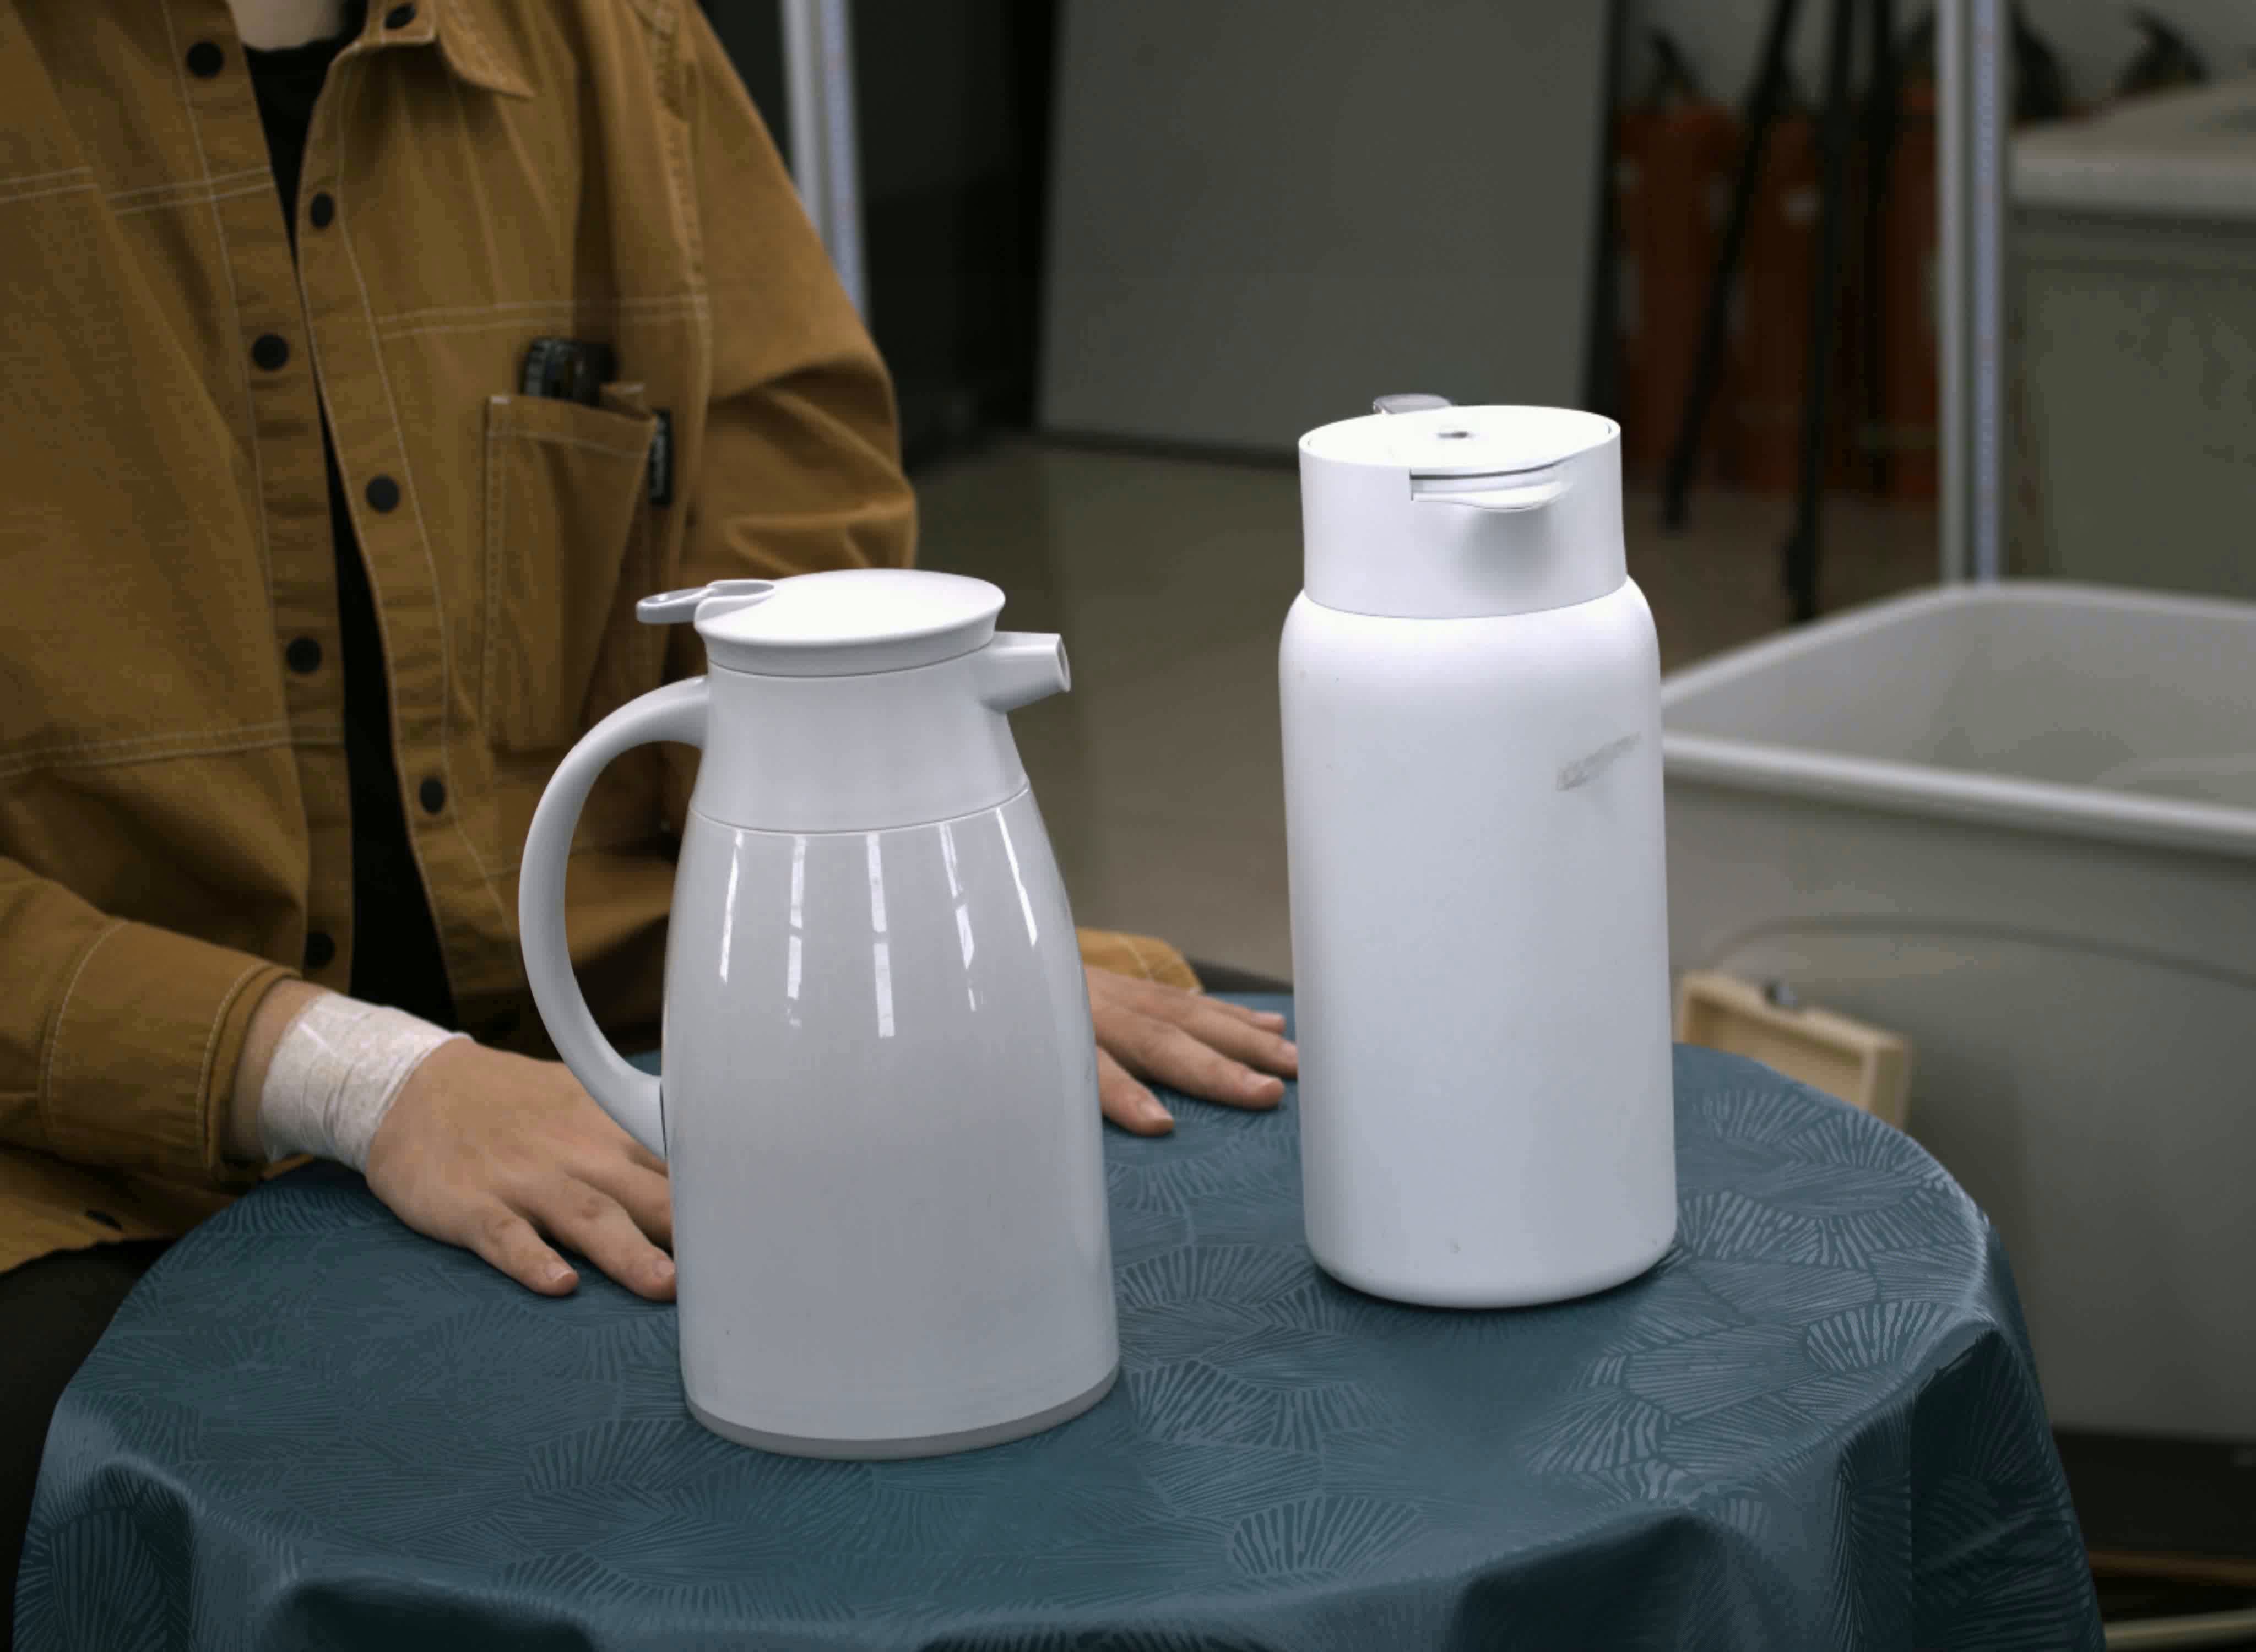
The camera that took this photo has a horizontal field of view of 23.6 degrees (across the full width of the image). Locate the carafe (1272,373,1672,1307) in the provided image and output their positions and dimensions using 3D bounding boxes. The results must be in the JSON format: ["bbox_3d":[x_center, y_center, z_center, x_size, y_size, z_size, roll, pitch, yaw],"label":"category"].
[{"bbox_3d":[0.100,0.001,1.669,0.121,0.272,0.174,-8,14,-10],"label":"carafe"}]

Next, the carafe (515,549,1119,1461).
[{"bbox_3d":[-0.094,0.047,1.582,0.166,0.251,0.132,-4,13,6],"label":"carafe"}]
